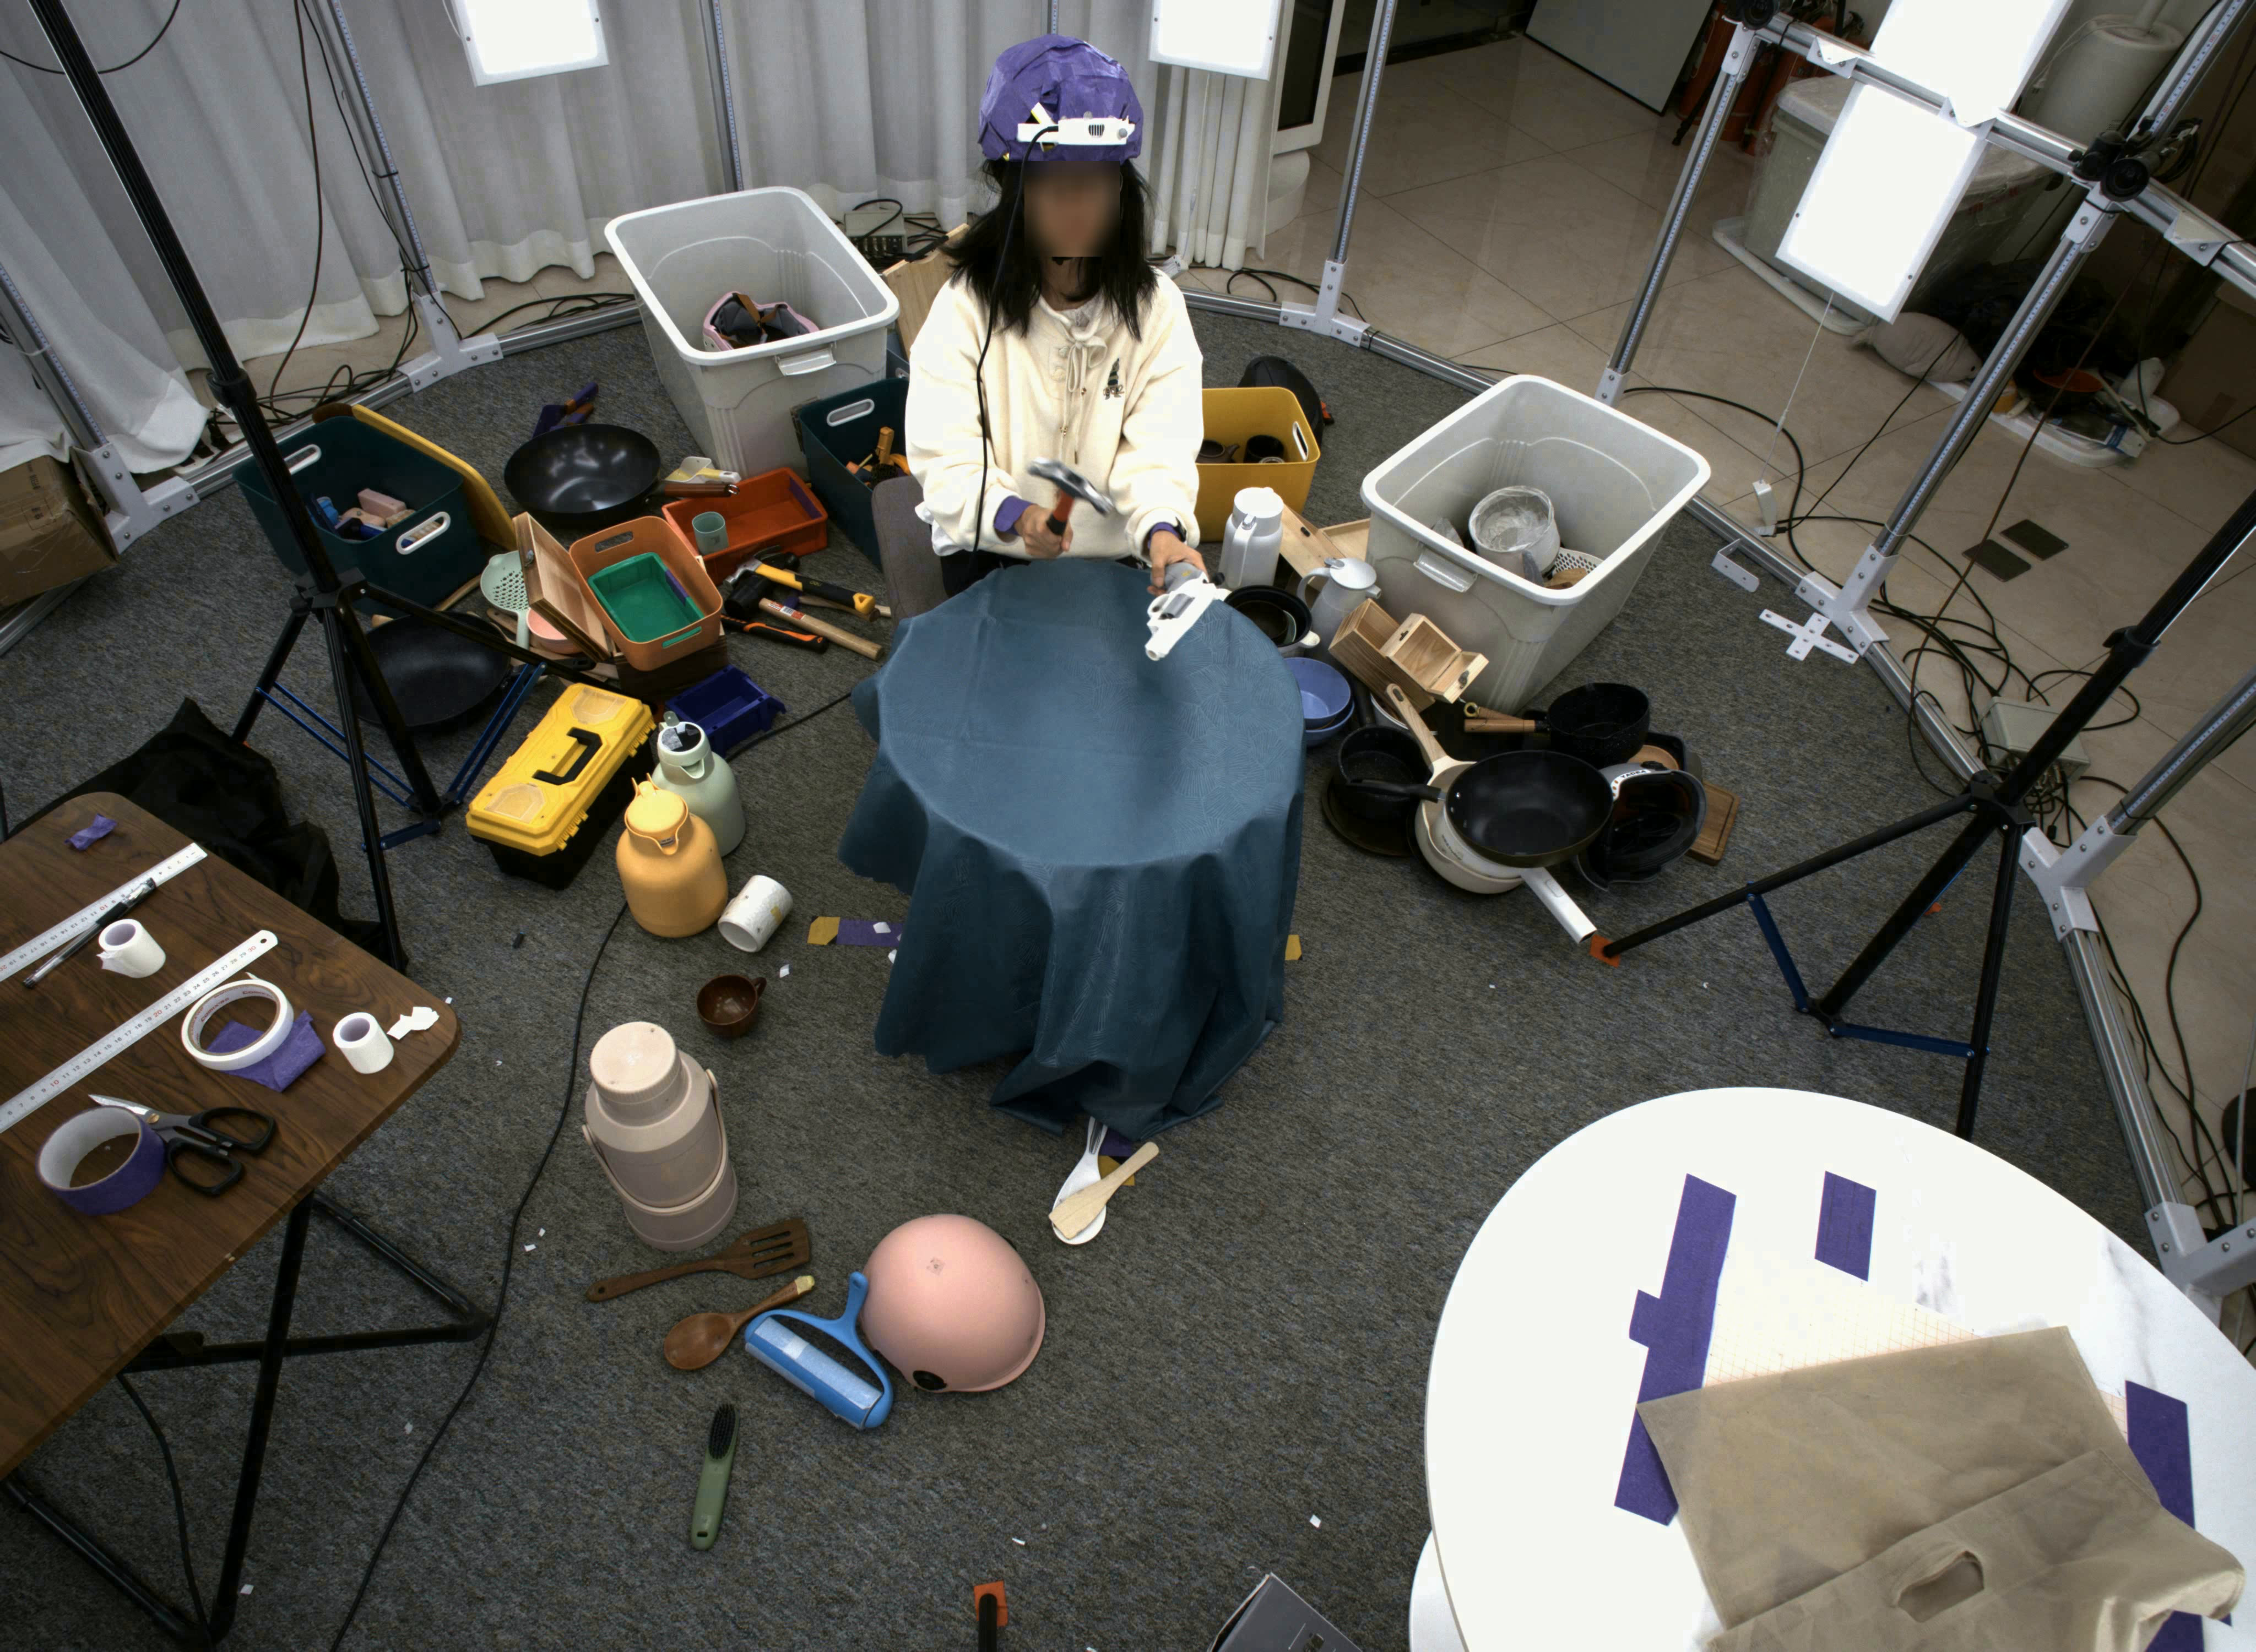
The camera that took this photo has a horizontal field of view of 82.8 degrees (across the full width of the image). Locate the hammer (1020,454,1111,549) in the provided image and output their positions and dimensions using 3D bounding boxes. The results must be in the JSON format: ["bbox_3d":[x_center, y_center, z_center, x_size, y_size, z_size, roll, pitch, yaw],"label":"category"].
[{"bbox_3d":[-0.091,-0.417,1.689,0.110,0.276,0.026,24,82,-5],"label":"hammer"}]

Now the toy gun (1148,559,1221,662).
[{"bbox_3d":[0.053,-0.293,1.717,0.142,0.038,0.212,5,47,41],"label":"toy gun"}]
